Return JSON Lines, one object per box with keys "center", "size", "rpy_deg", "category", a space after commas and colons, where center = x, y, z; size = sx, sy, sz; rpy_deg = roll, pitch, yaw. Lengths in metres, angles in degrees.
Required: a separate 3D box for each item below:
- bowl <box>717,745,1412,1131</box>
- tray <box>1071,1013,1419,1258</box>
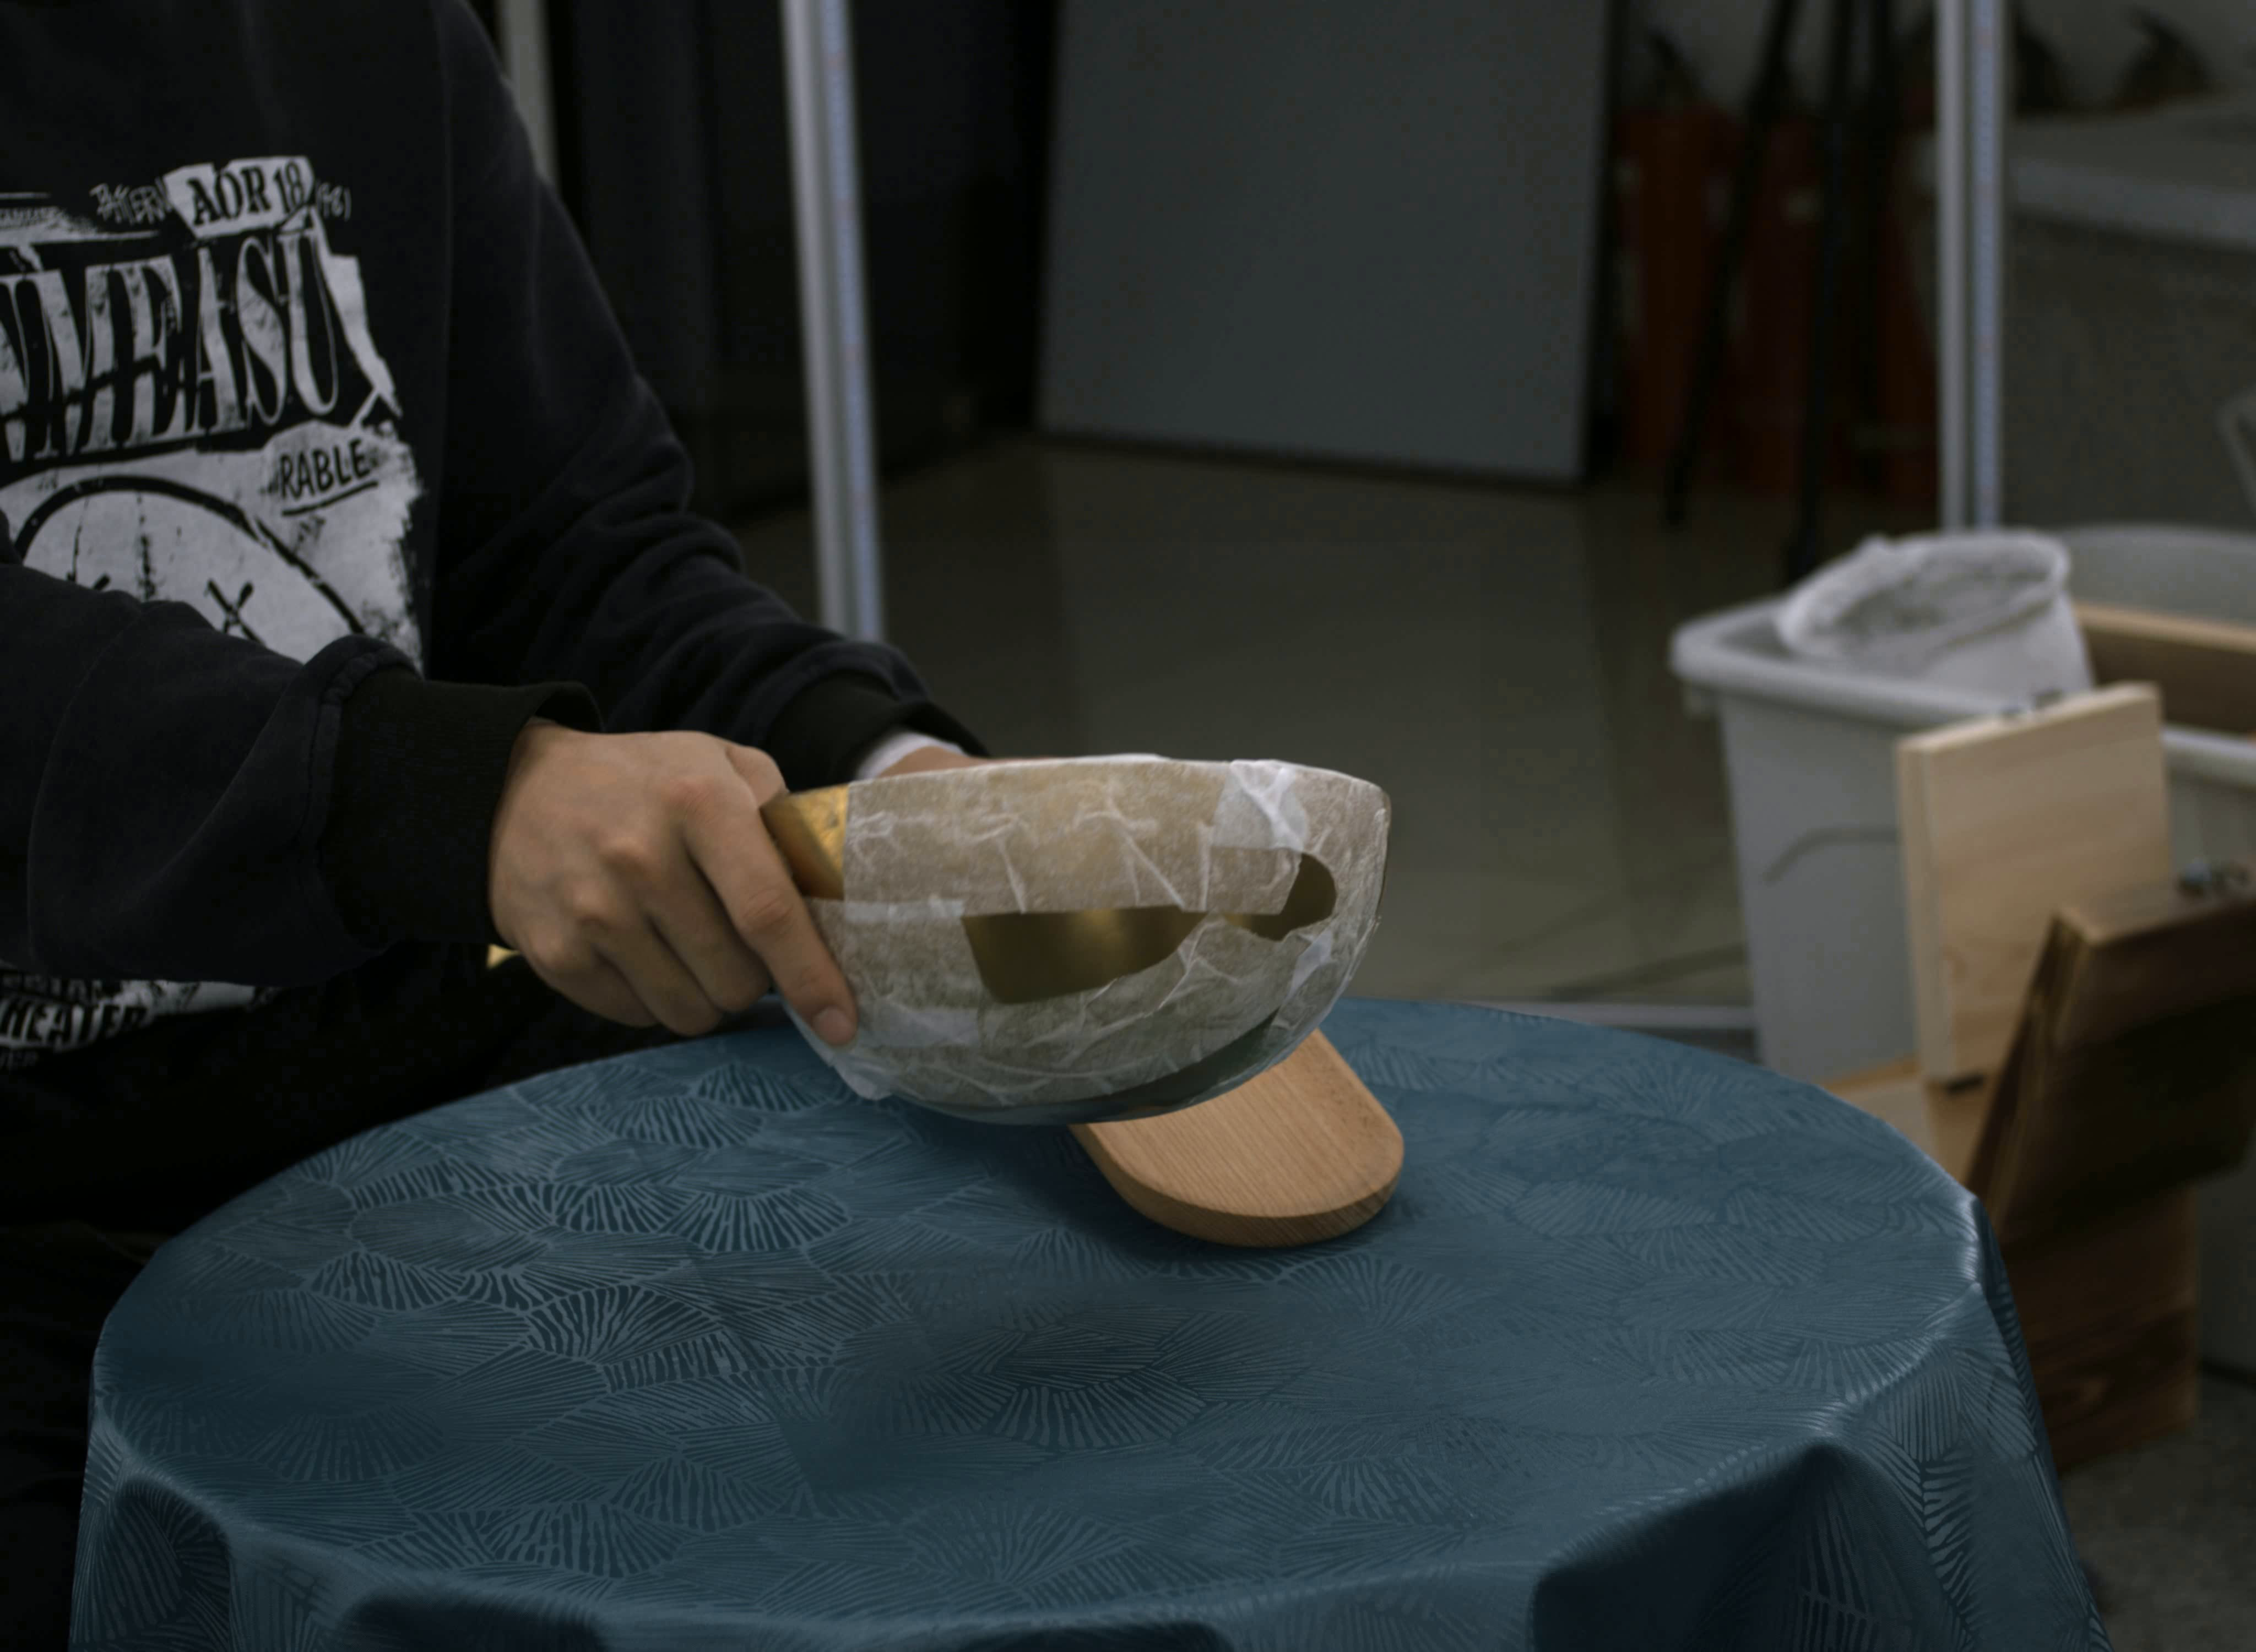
{"center": [-0.017, 0.040, 1.598], "size": [0.212, 0.096, 0.215], "rpy_deg": [-4, -9, -2], "category": "bowl"}
{"center": [0.018, 0.078, 1.791], "size": [0.099, 0.020, 0.234], "rpy_deg": [-9, 32, -21], "category": "tray"}
